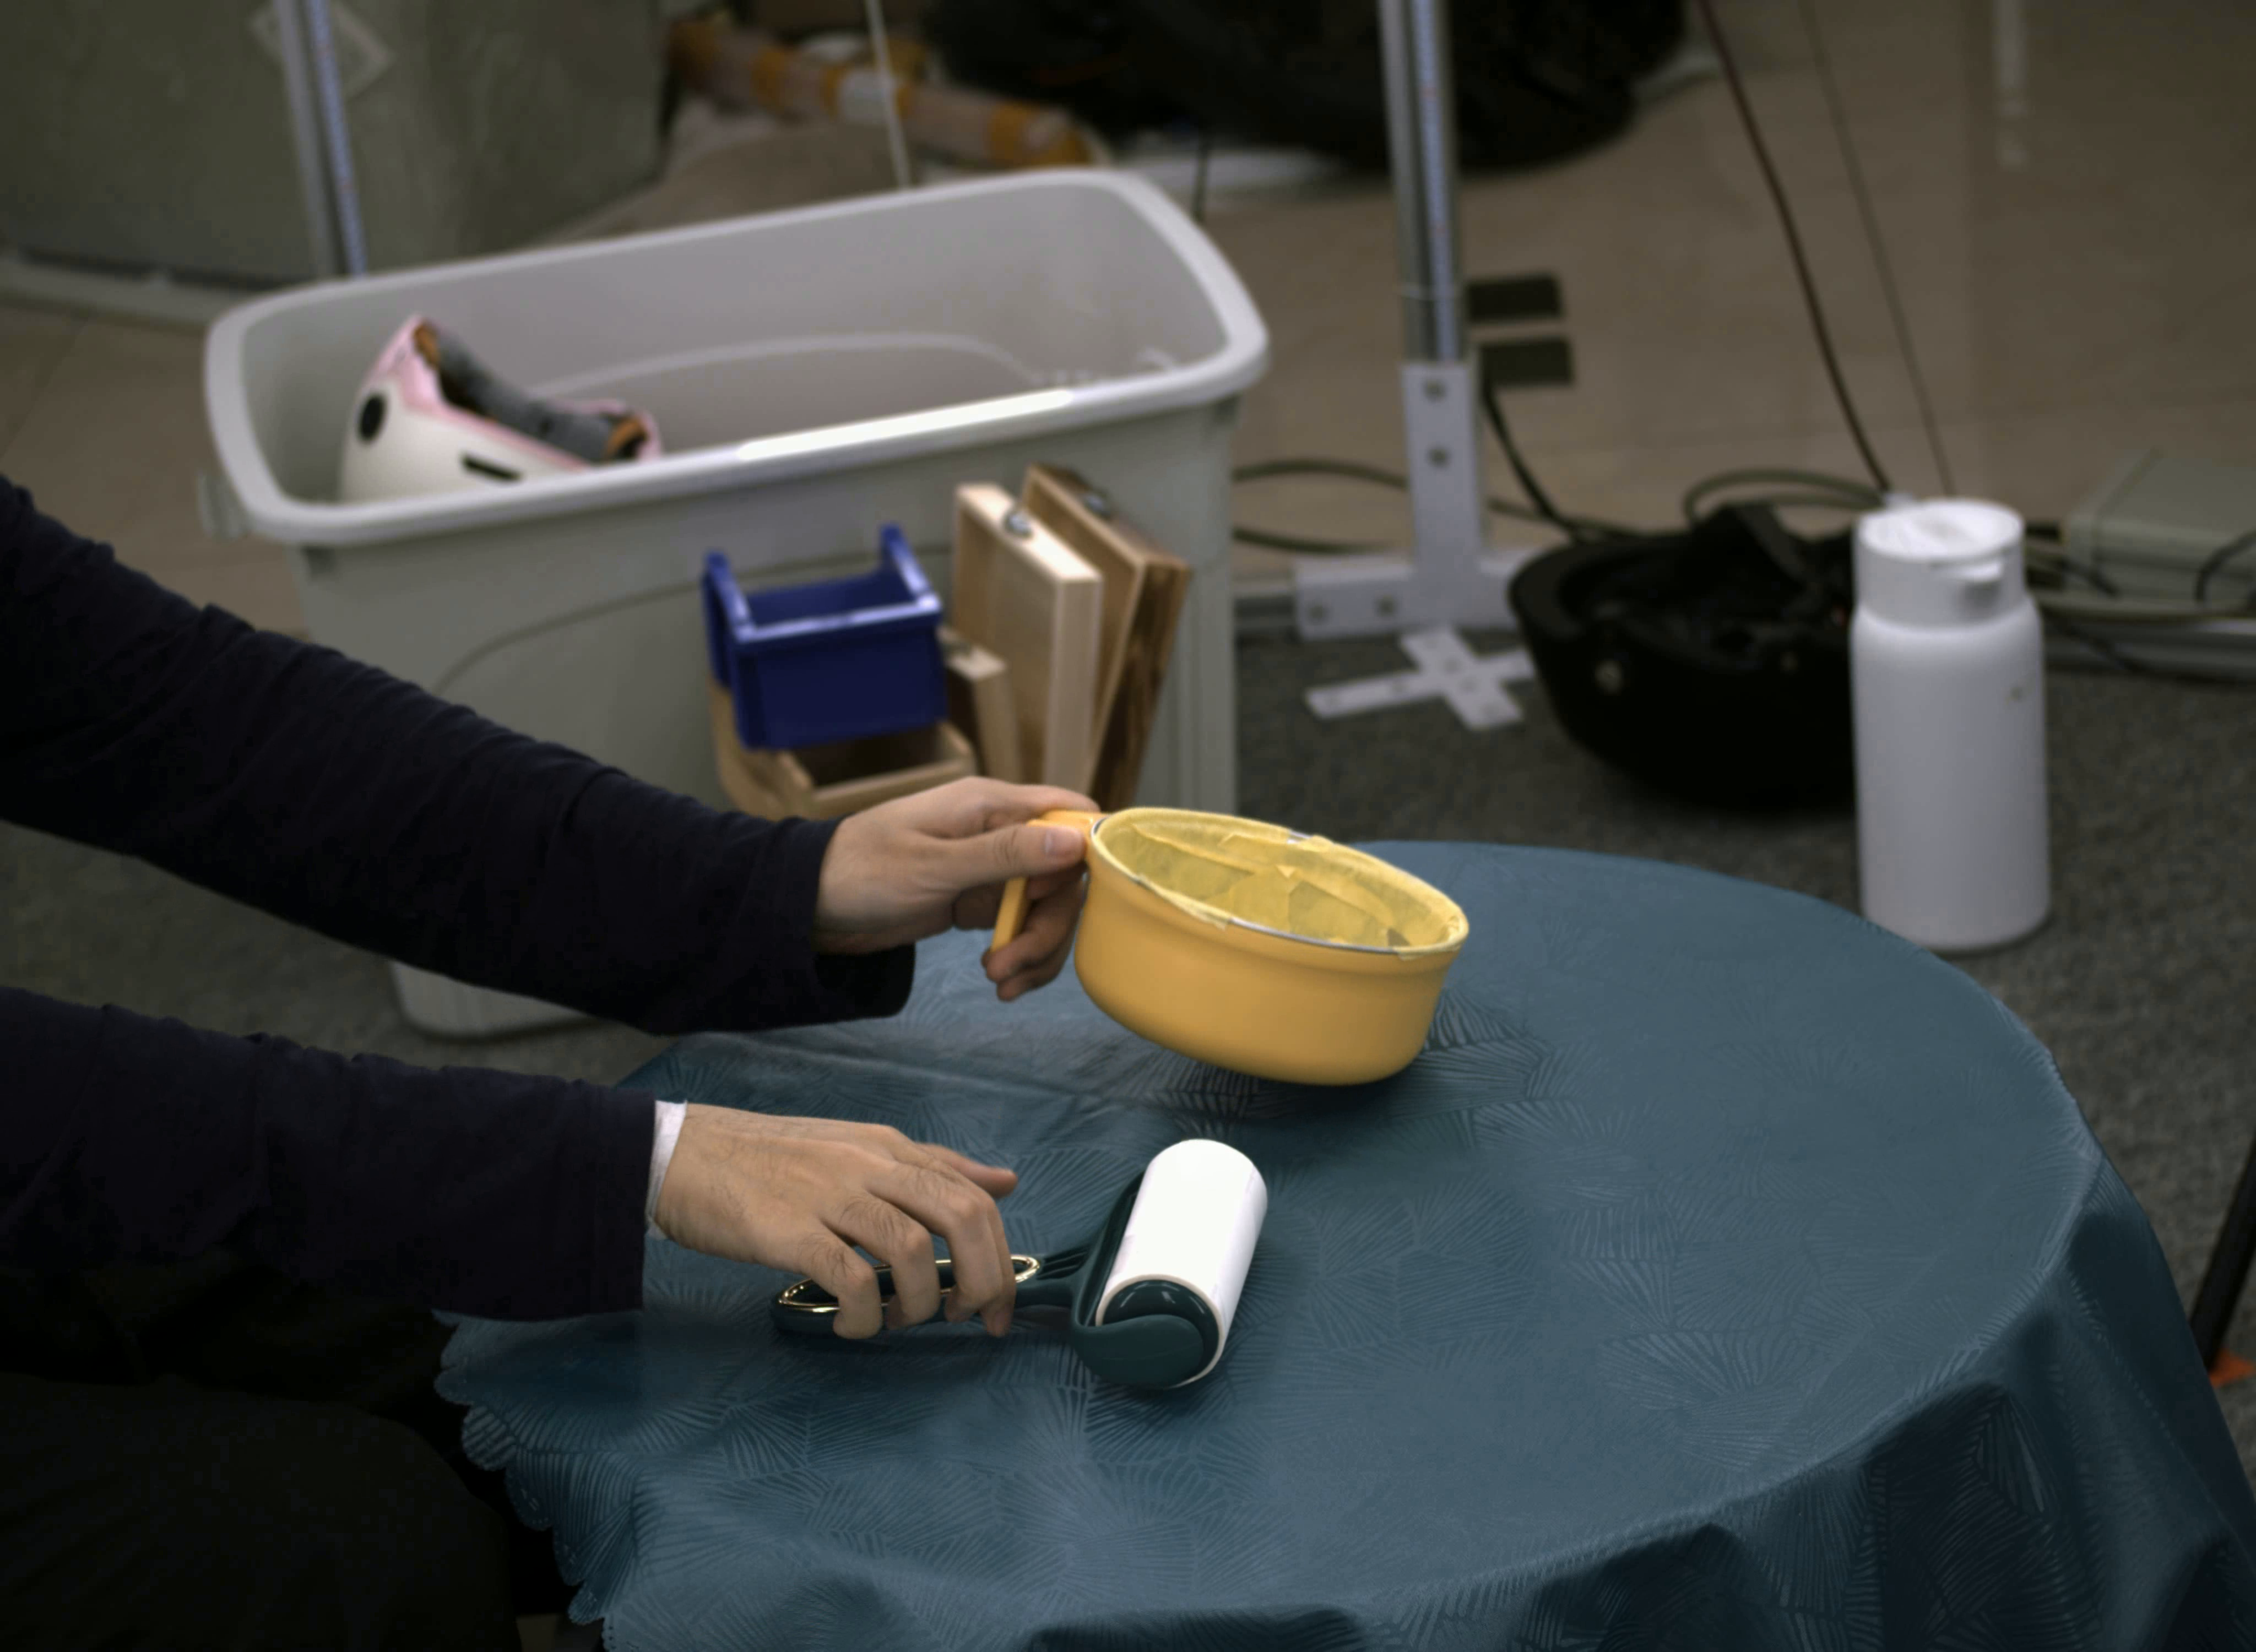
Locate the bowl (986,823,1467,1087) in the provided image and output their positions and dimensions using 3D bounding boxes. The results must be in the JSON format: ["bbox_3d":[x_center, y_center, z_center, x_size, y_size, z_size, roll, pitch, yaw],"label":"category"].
[{"bbox_3d":[0.038,0.049,2.213,0.179,0.075,0.151,15,16,4],"label":"bowl"}]

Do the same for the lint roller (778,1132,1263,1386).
[{"bbox_3d":[-0.045,0.163,2.065,0.180,0.049,0.132,-5,25,13],"label":"lint roller"}]
